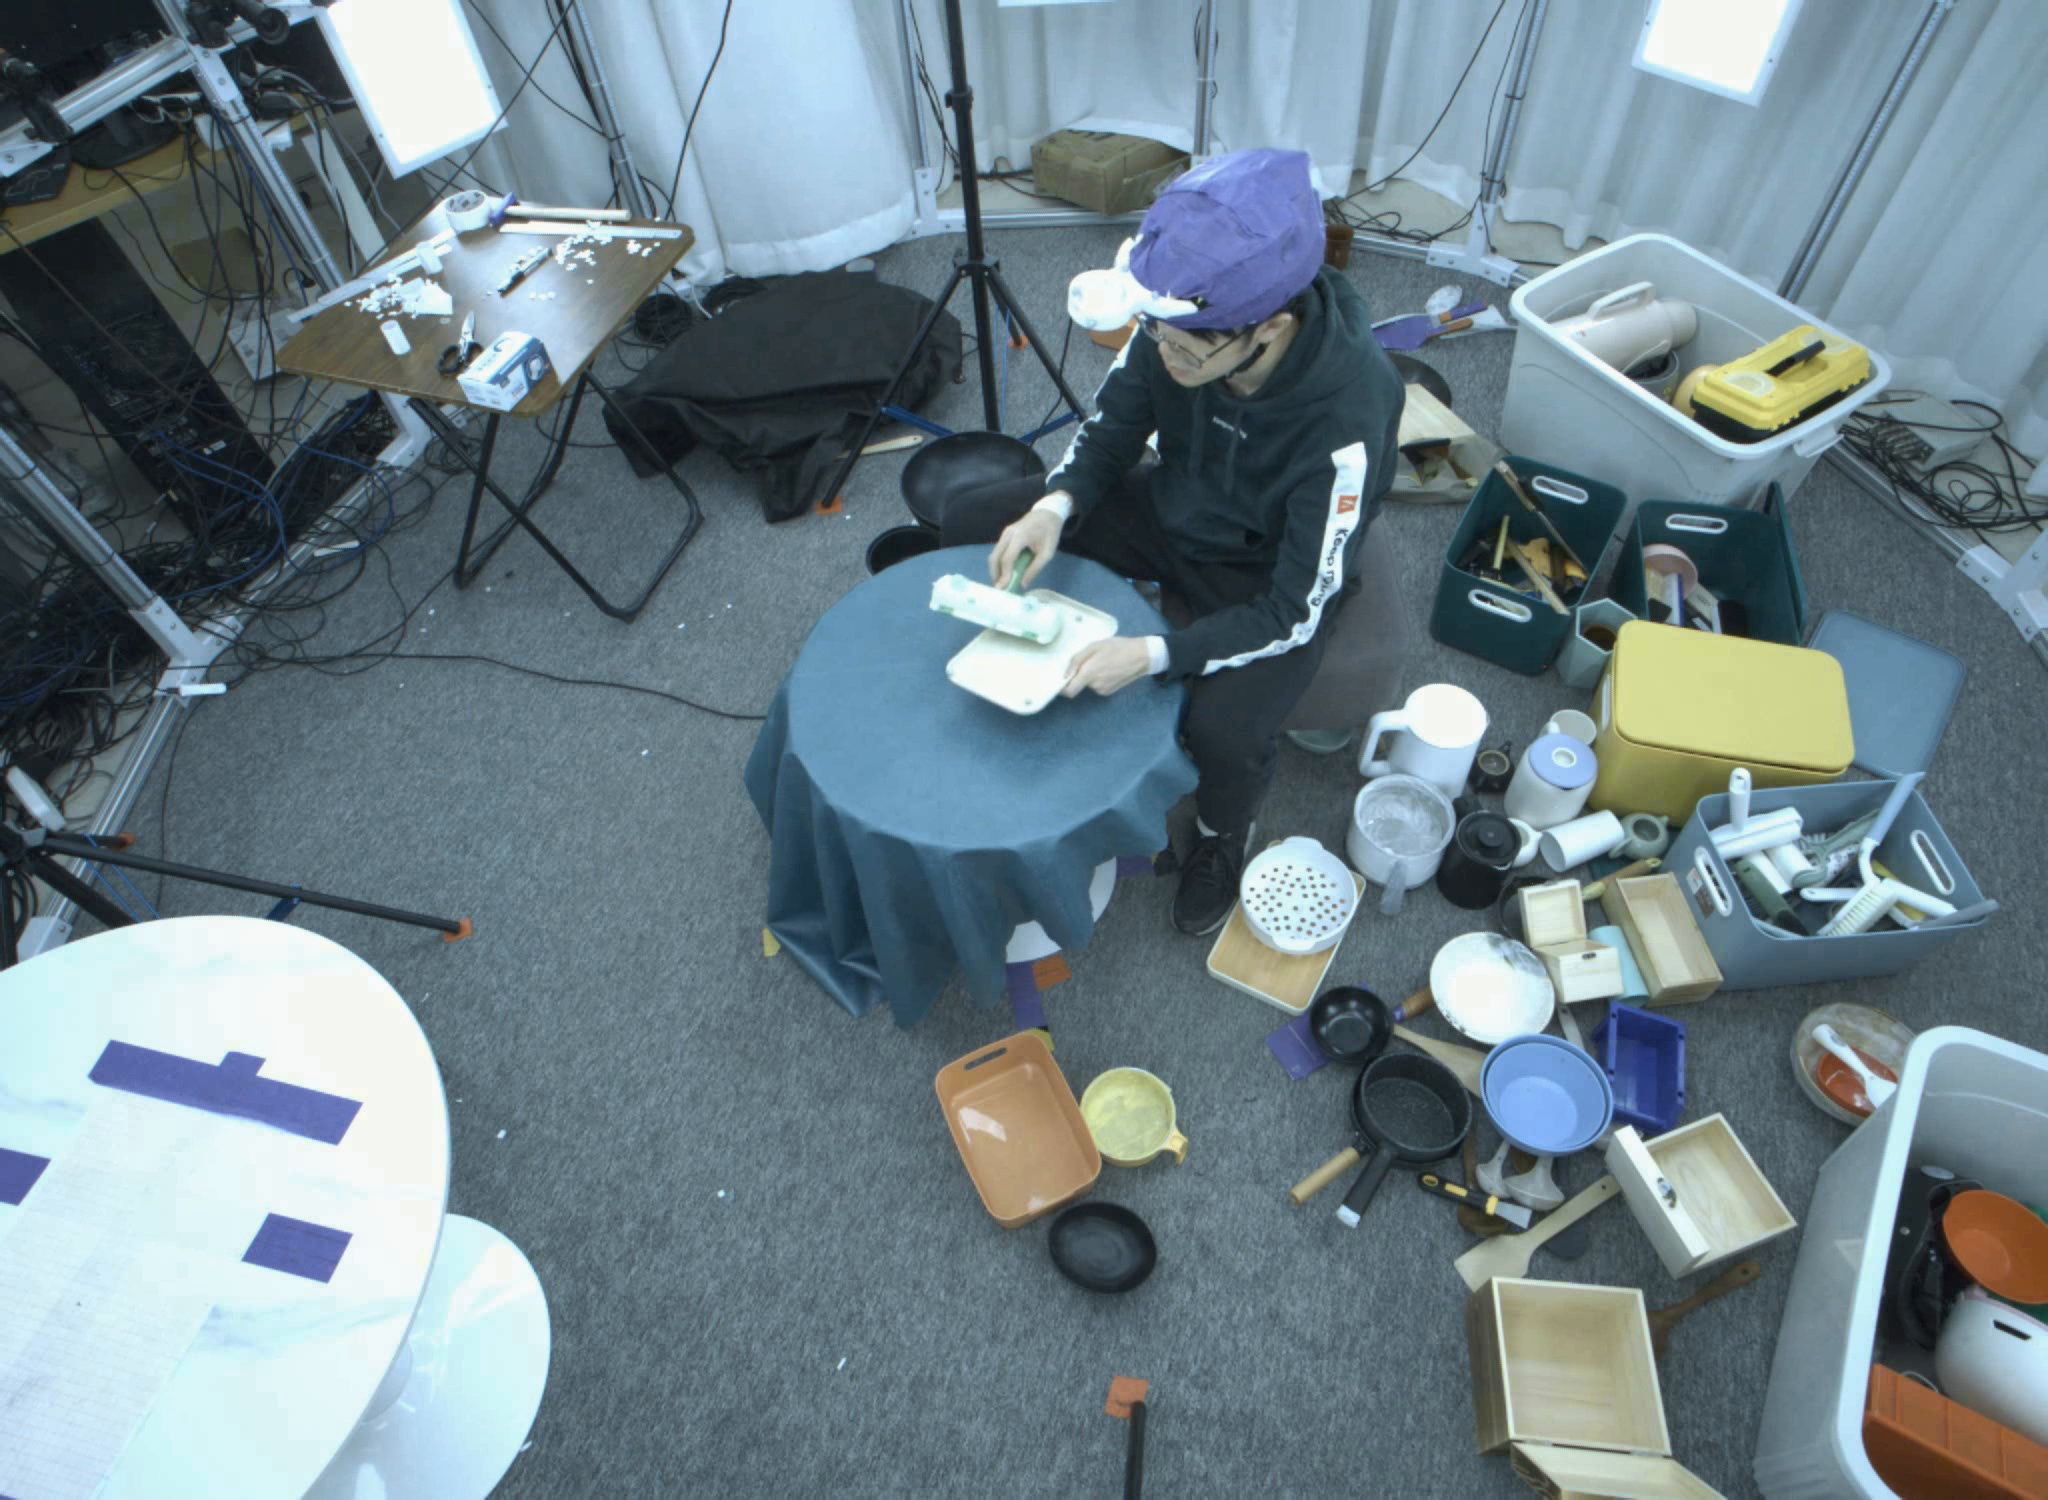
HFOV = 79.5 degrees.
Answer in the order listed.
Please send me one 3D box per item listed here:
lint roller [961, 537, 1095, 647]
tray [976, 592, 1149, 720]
[{"bbox_3d":[0.027,-0.257,1.830,0.196,0.083,0.183,20,74,14],"label":"lint roller"},{"bbox_3d":[0.058,-0.139,1.798,0.168,0.017,0.241,29,55,25],"label":"tray"}]
